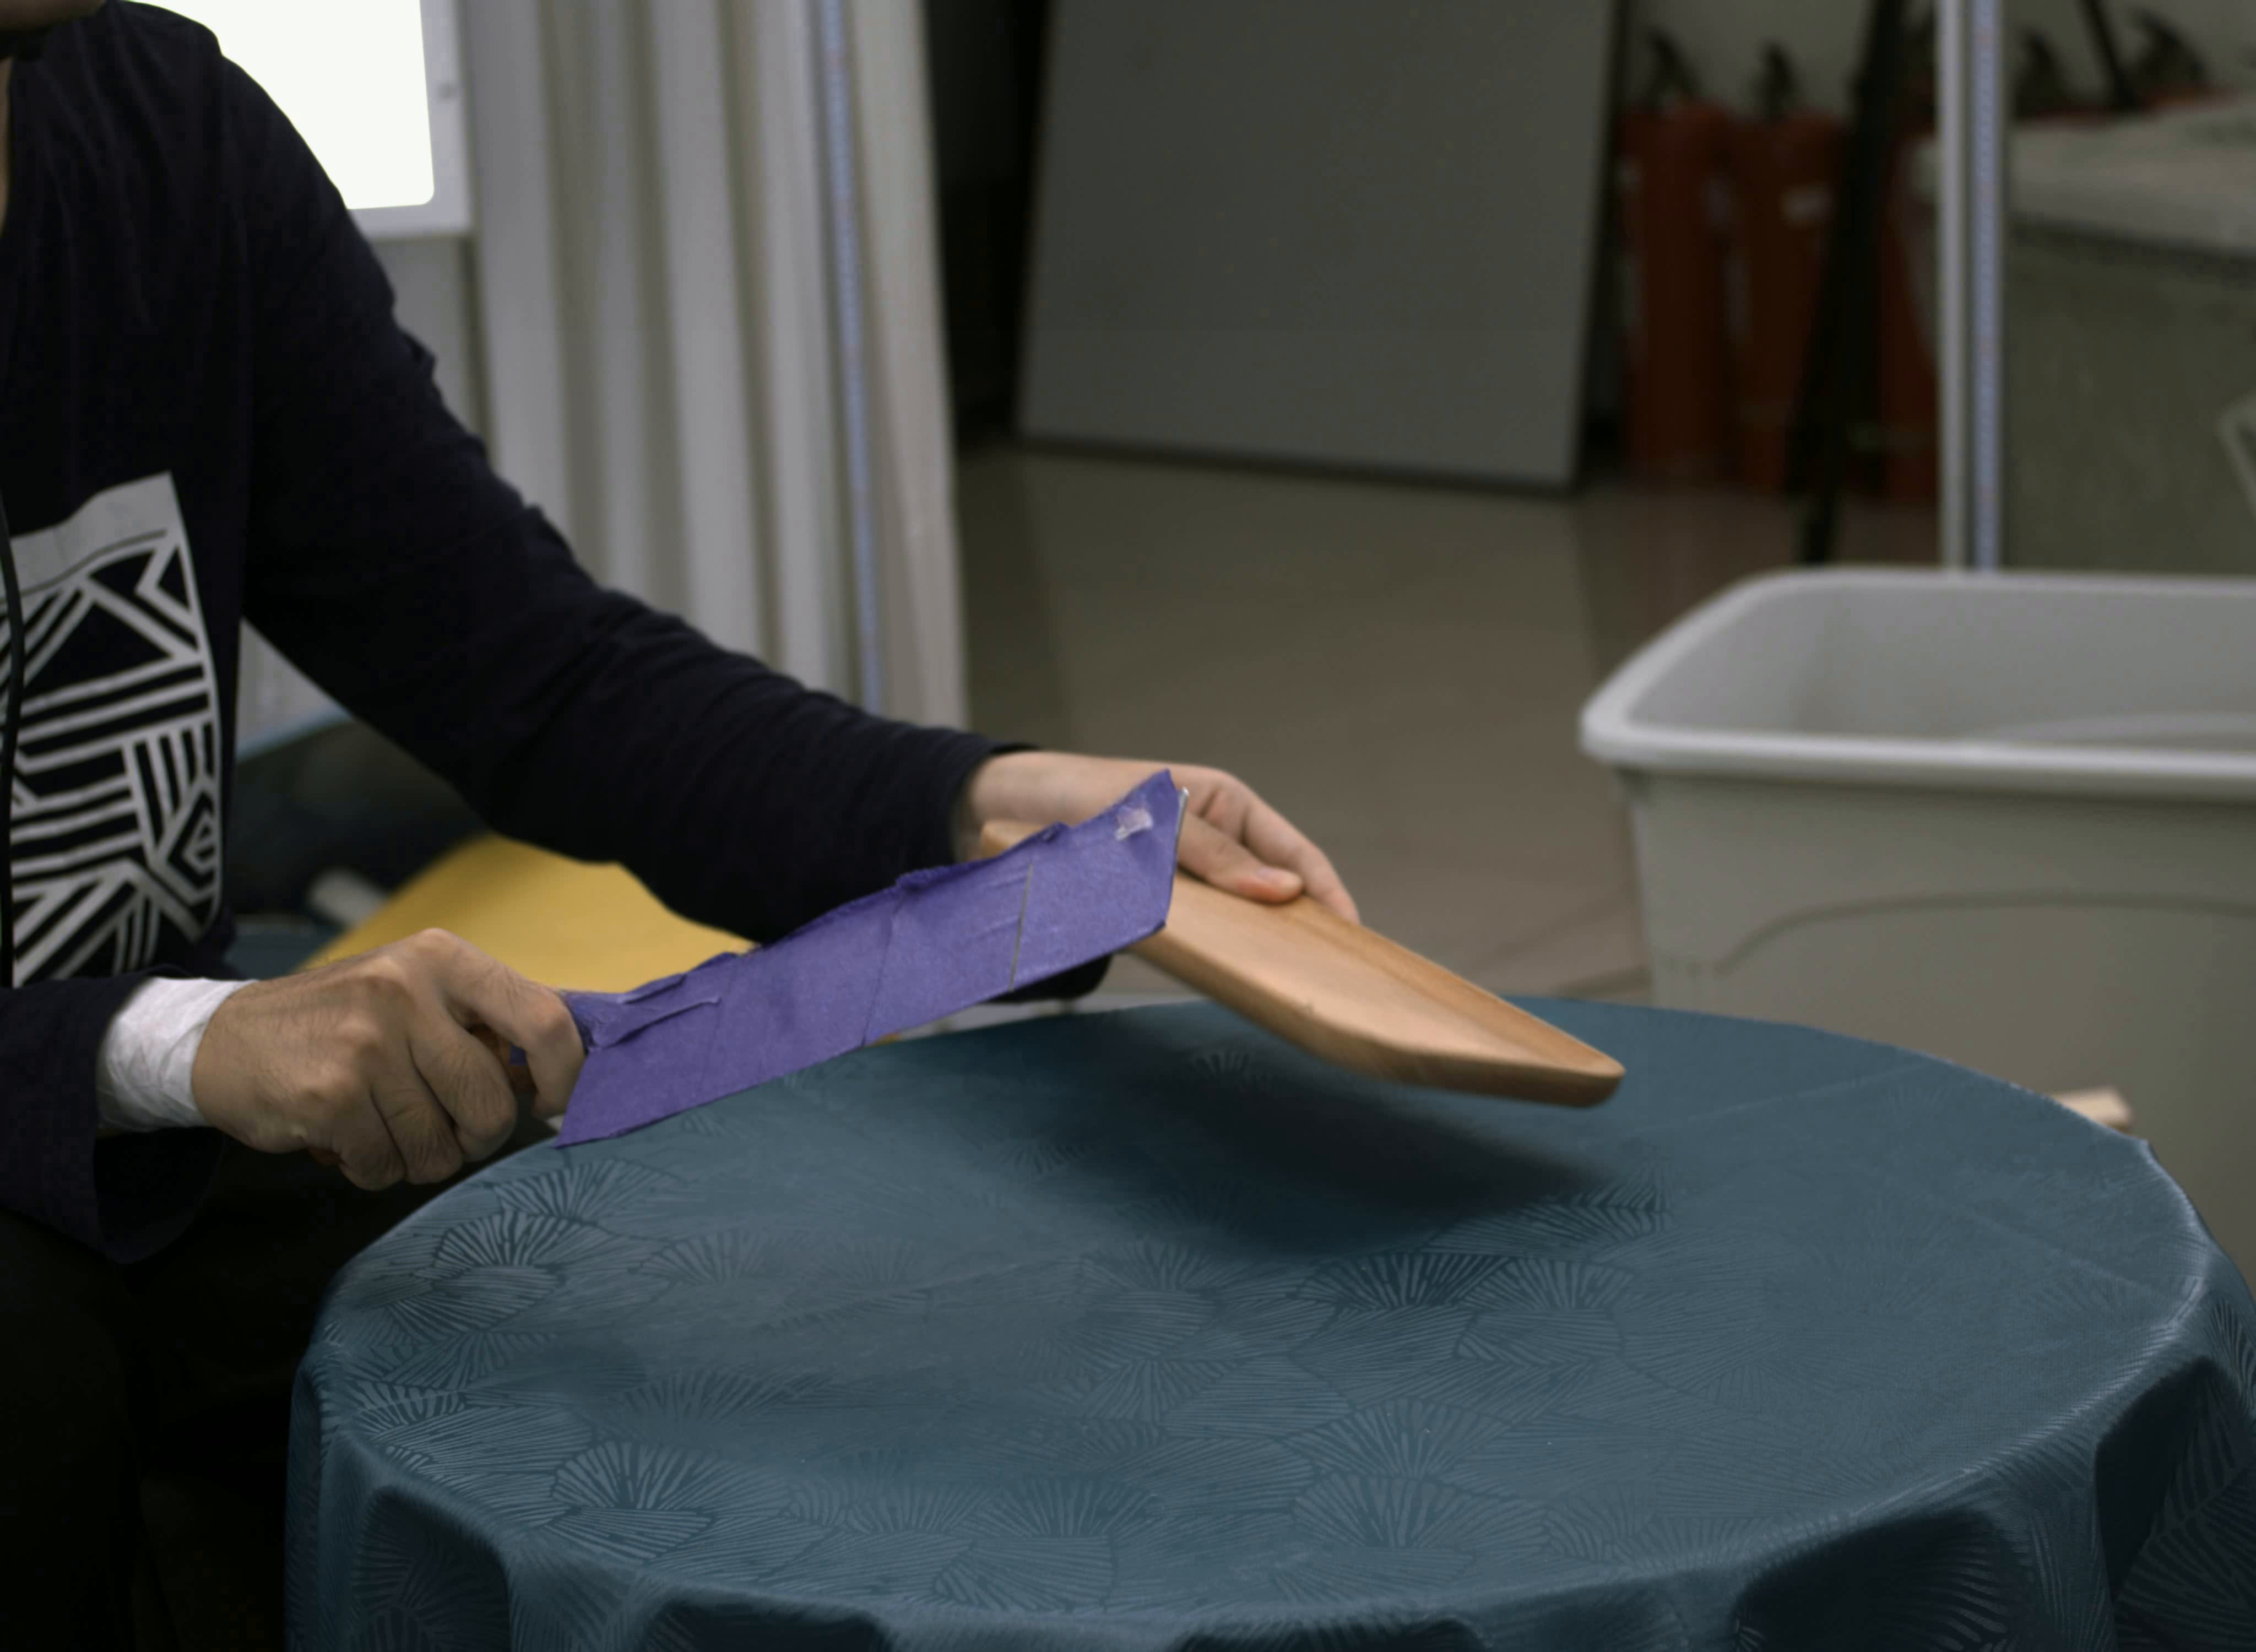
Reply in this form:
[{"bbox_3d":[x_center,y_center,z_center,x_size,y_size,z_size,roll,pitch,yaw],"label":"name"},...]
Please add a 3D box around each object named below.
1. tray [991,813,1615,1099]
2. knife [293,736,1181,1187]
[{"bbox_3d":[0.054,0.043,1.808,0.128,0.023,0.253,16,6,-32],"label":"tray"},{"bbox_3d":[-0.124,0.054,1.639,0.315,0.032,0.104,-25,22,18],"label":"knife"}]
